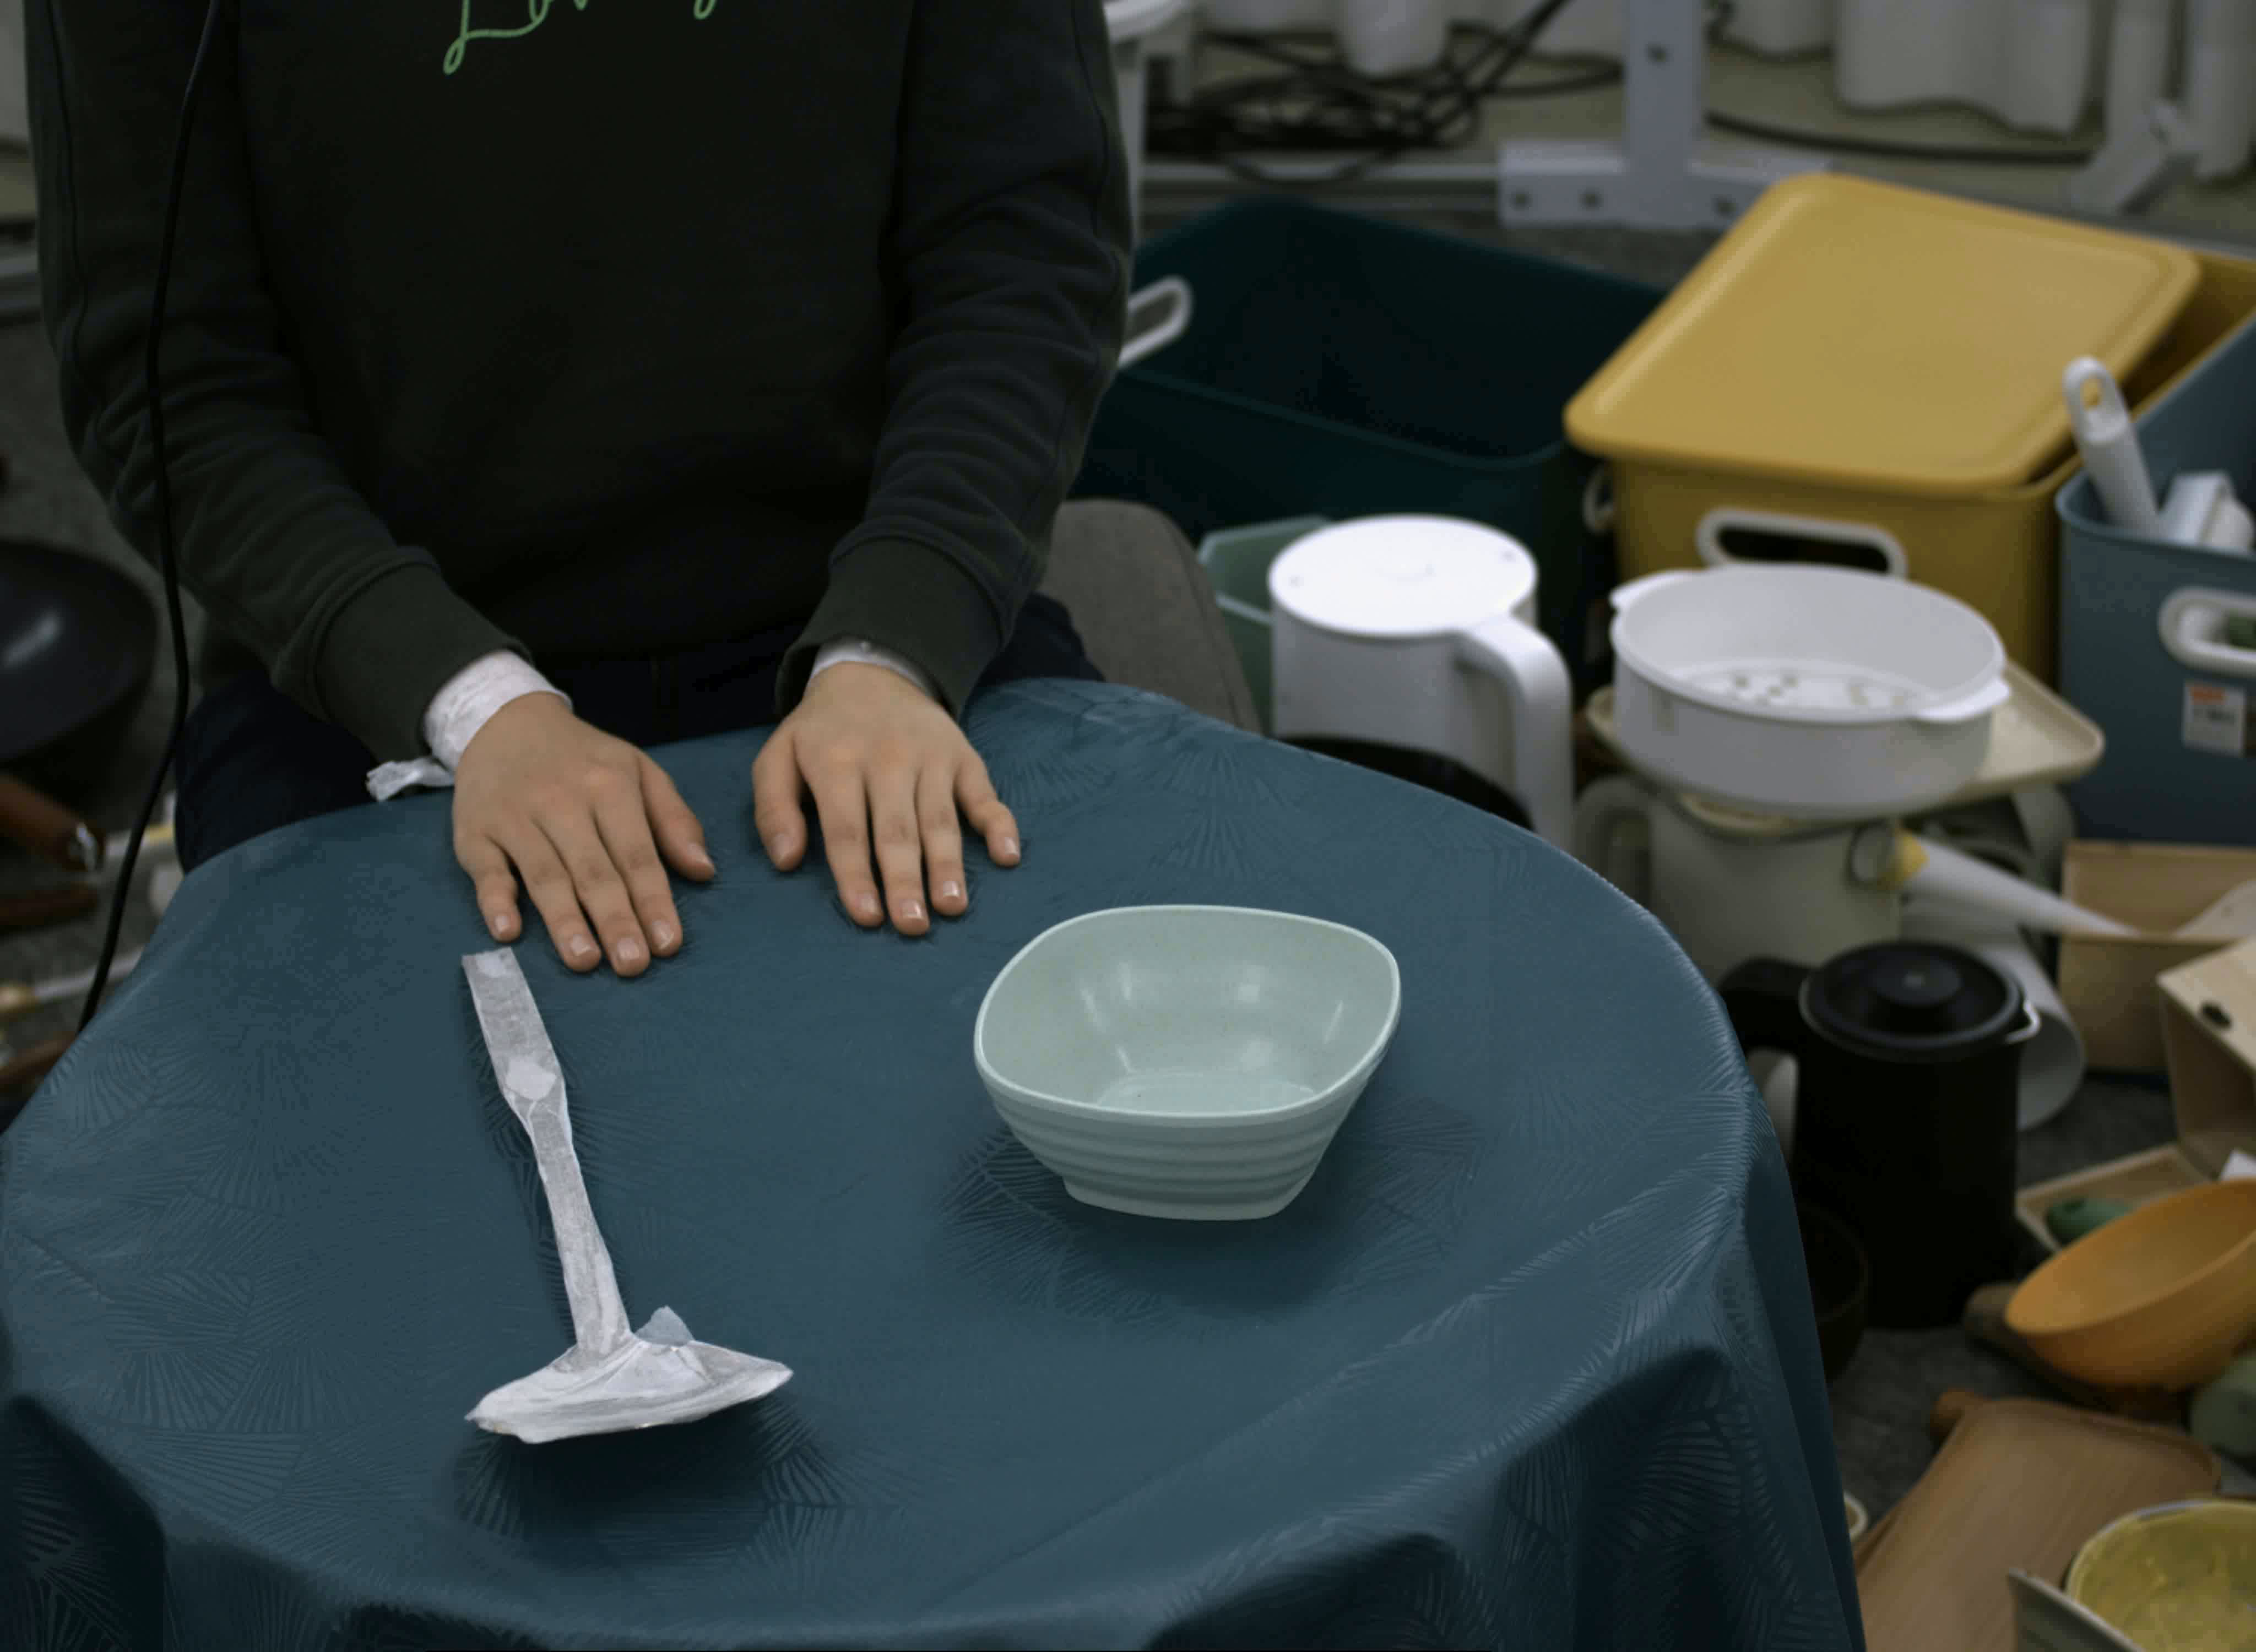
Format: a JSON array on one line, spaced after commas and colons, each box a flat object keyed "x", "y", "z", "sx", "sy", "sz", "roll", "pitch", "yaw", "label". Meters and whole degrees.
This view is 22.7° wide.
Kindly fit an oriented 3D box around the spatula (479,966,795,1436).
[{"x": -0.182, "y": 0.115, "z": 1.850, "sx": 0.098, "sy": 0.044, "sz": 0.369, "roll": -10, "pitch": 28, "yaw": -9, "label": "spatula"}]

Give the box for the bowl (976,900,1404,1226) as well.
[{"x": 0.021, "y": 0.085, "z": 1.870, "sx": 0.151, "sy": 0.058, "sz": 0.154, "roll": 0, "pitch": 29, "yaw": 1, "label": "bowl"}]
